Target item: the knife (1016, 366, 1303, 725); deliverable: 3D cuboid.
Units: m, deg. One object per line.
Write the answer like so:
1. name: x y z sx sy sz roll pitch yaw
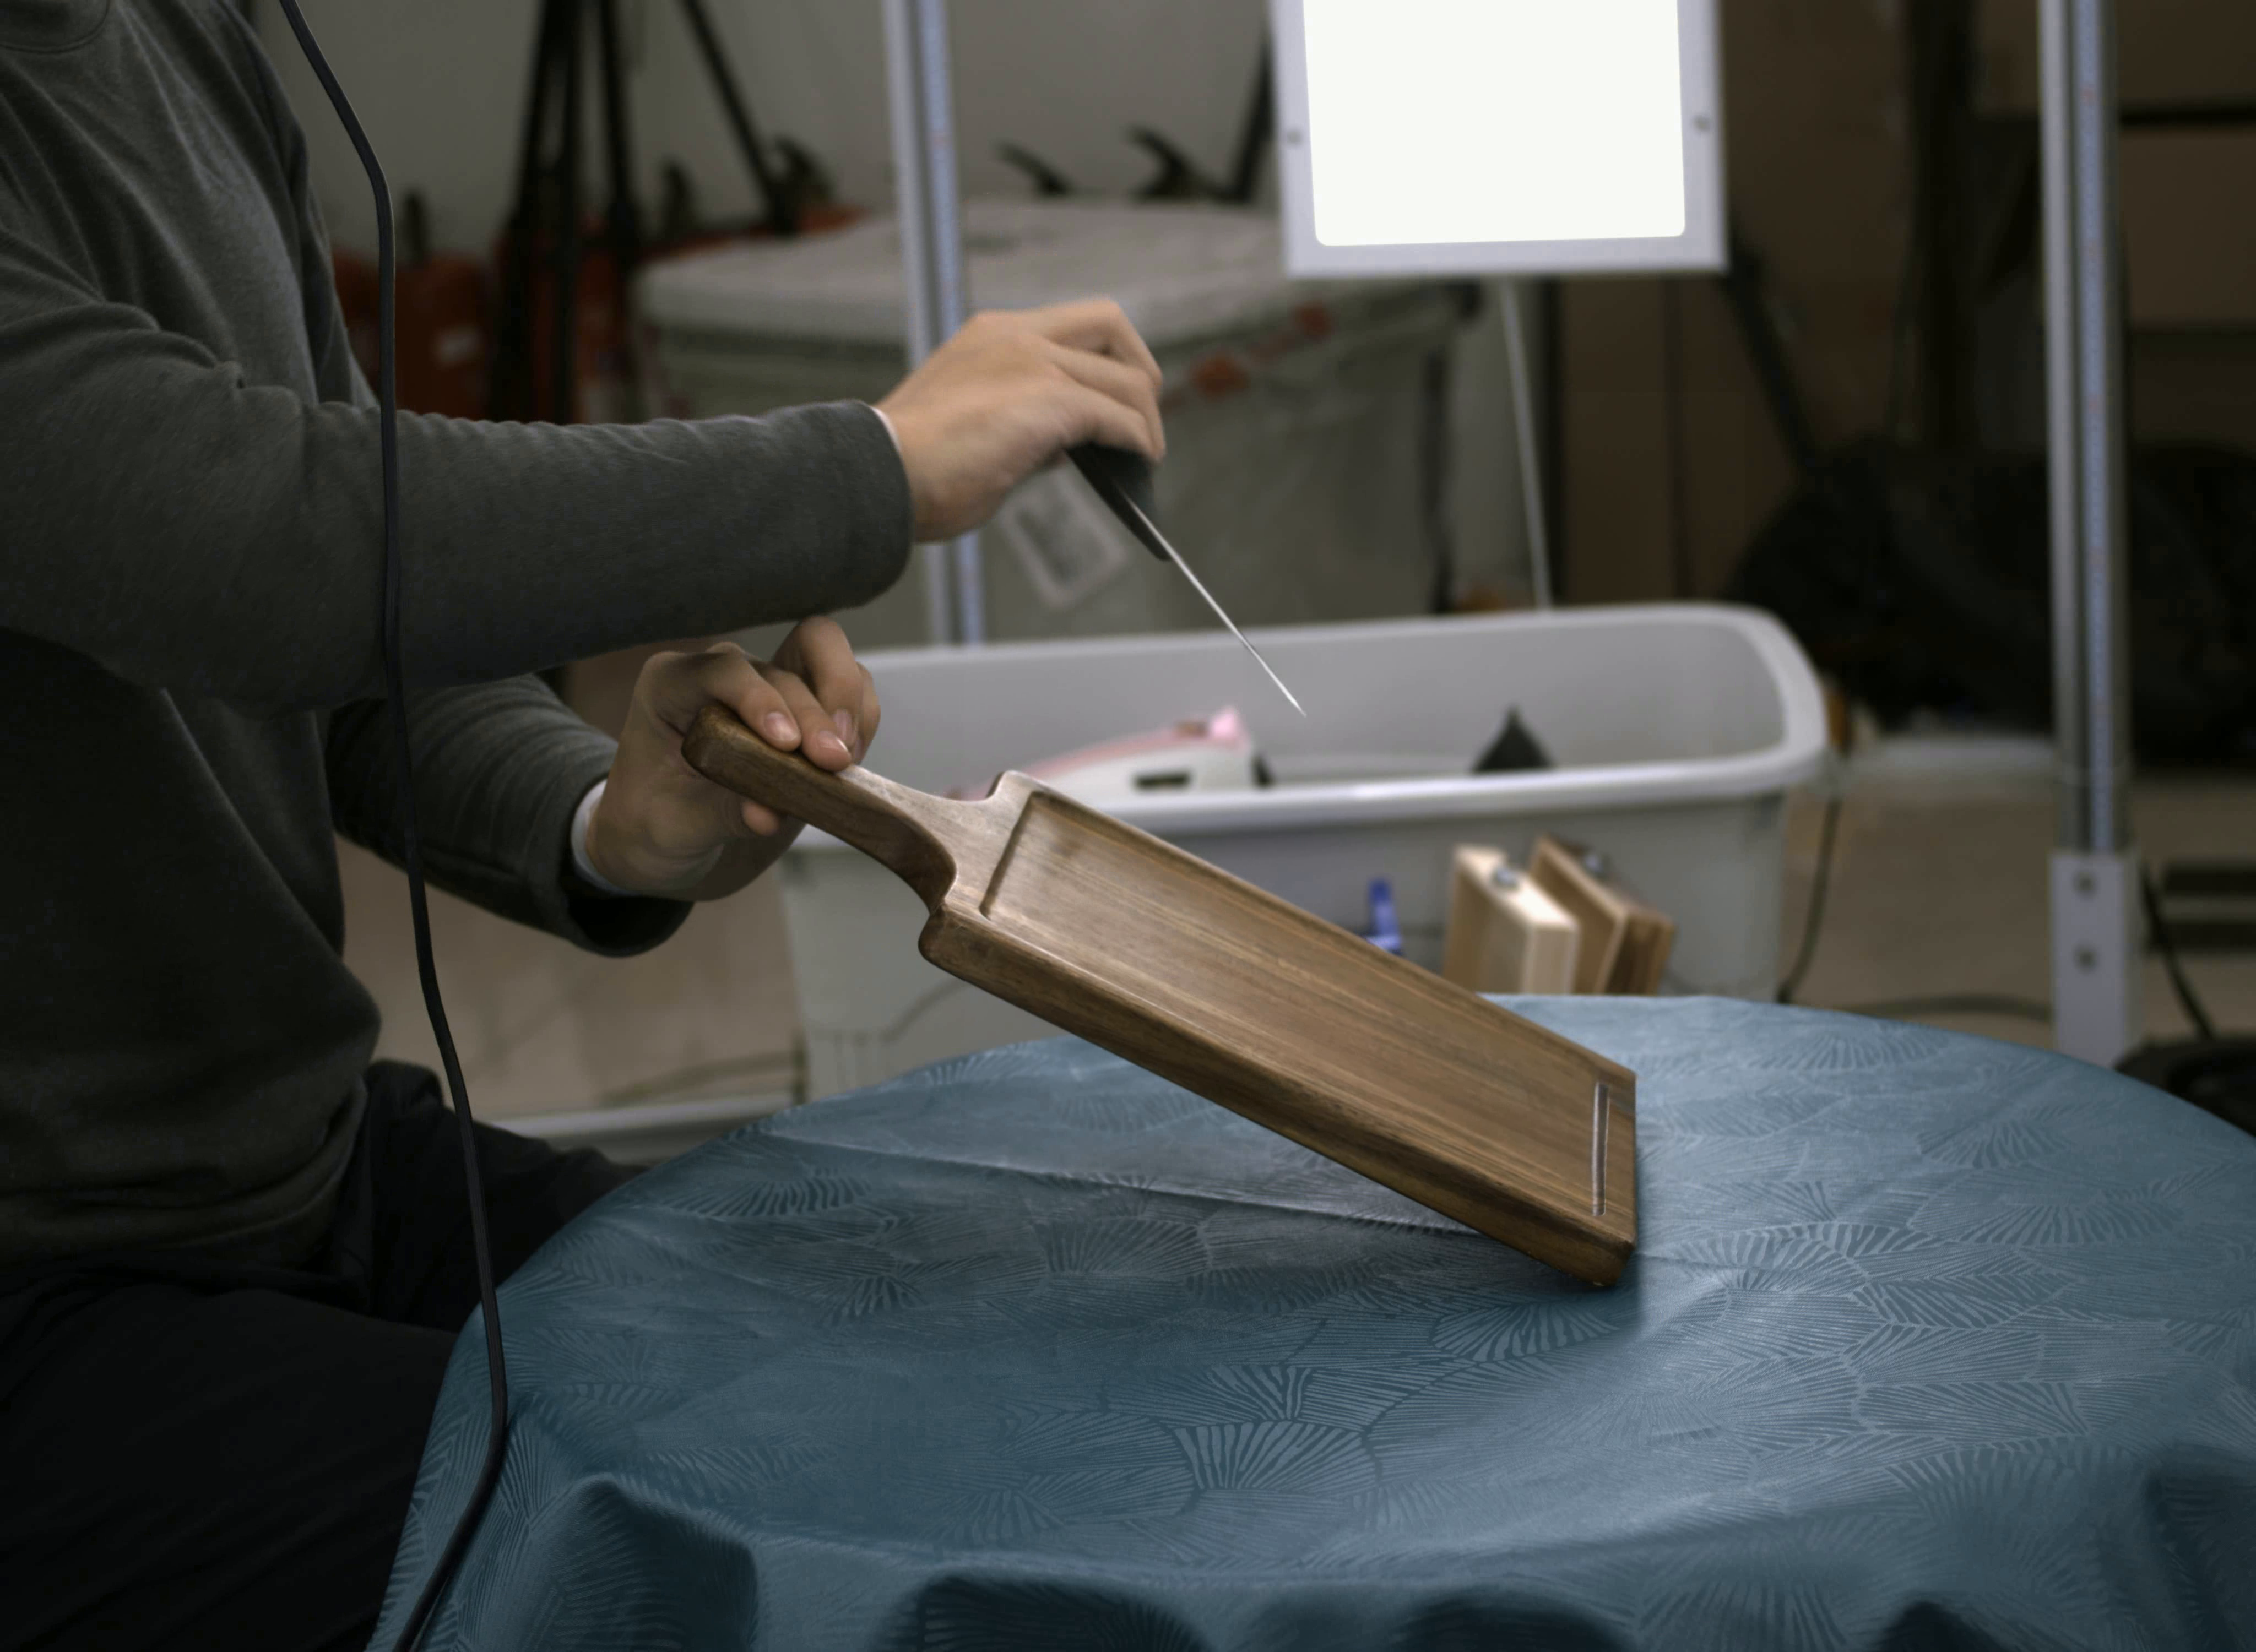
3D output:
1. knife: 0.010 -0.100 1.919 0.016 0.024 0.240 -45 41 8

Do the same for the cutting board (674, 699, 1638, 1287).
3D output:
1. cutting board: 0.011 0.042 1.845 0.351 0.023 0.199 26 15 0
